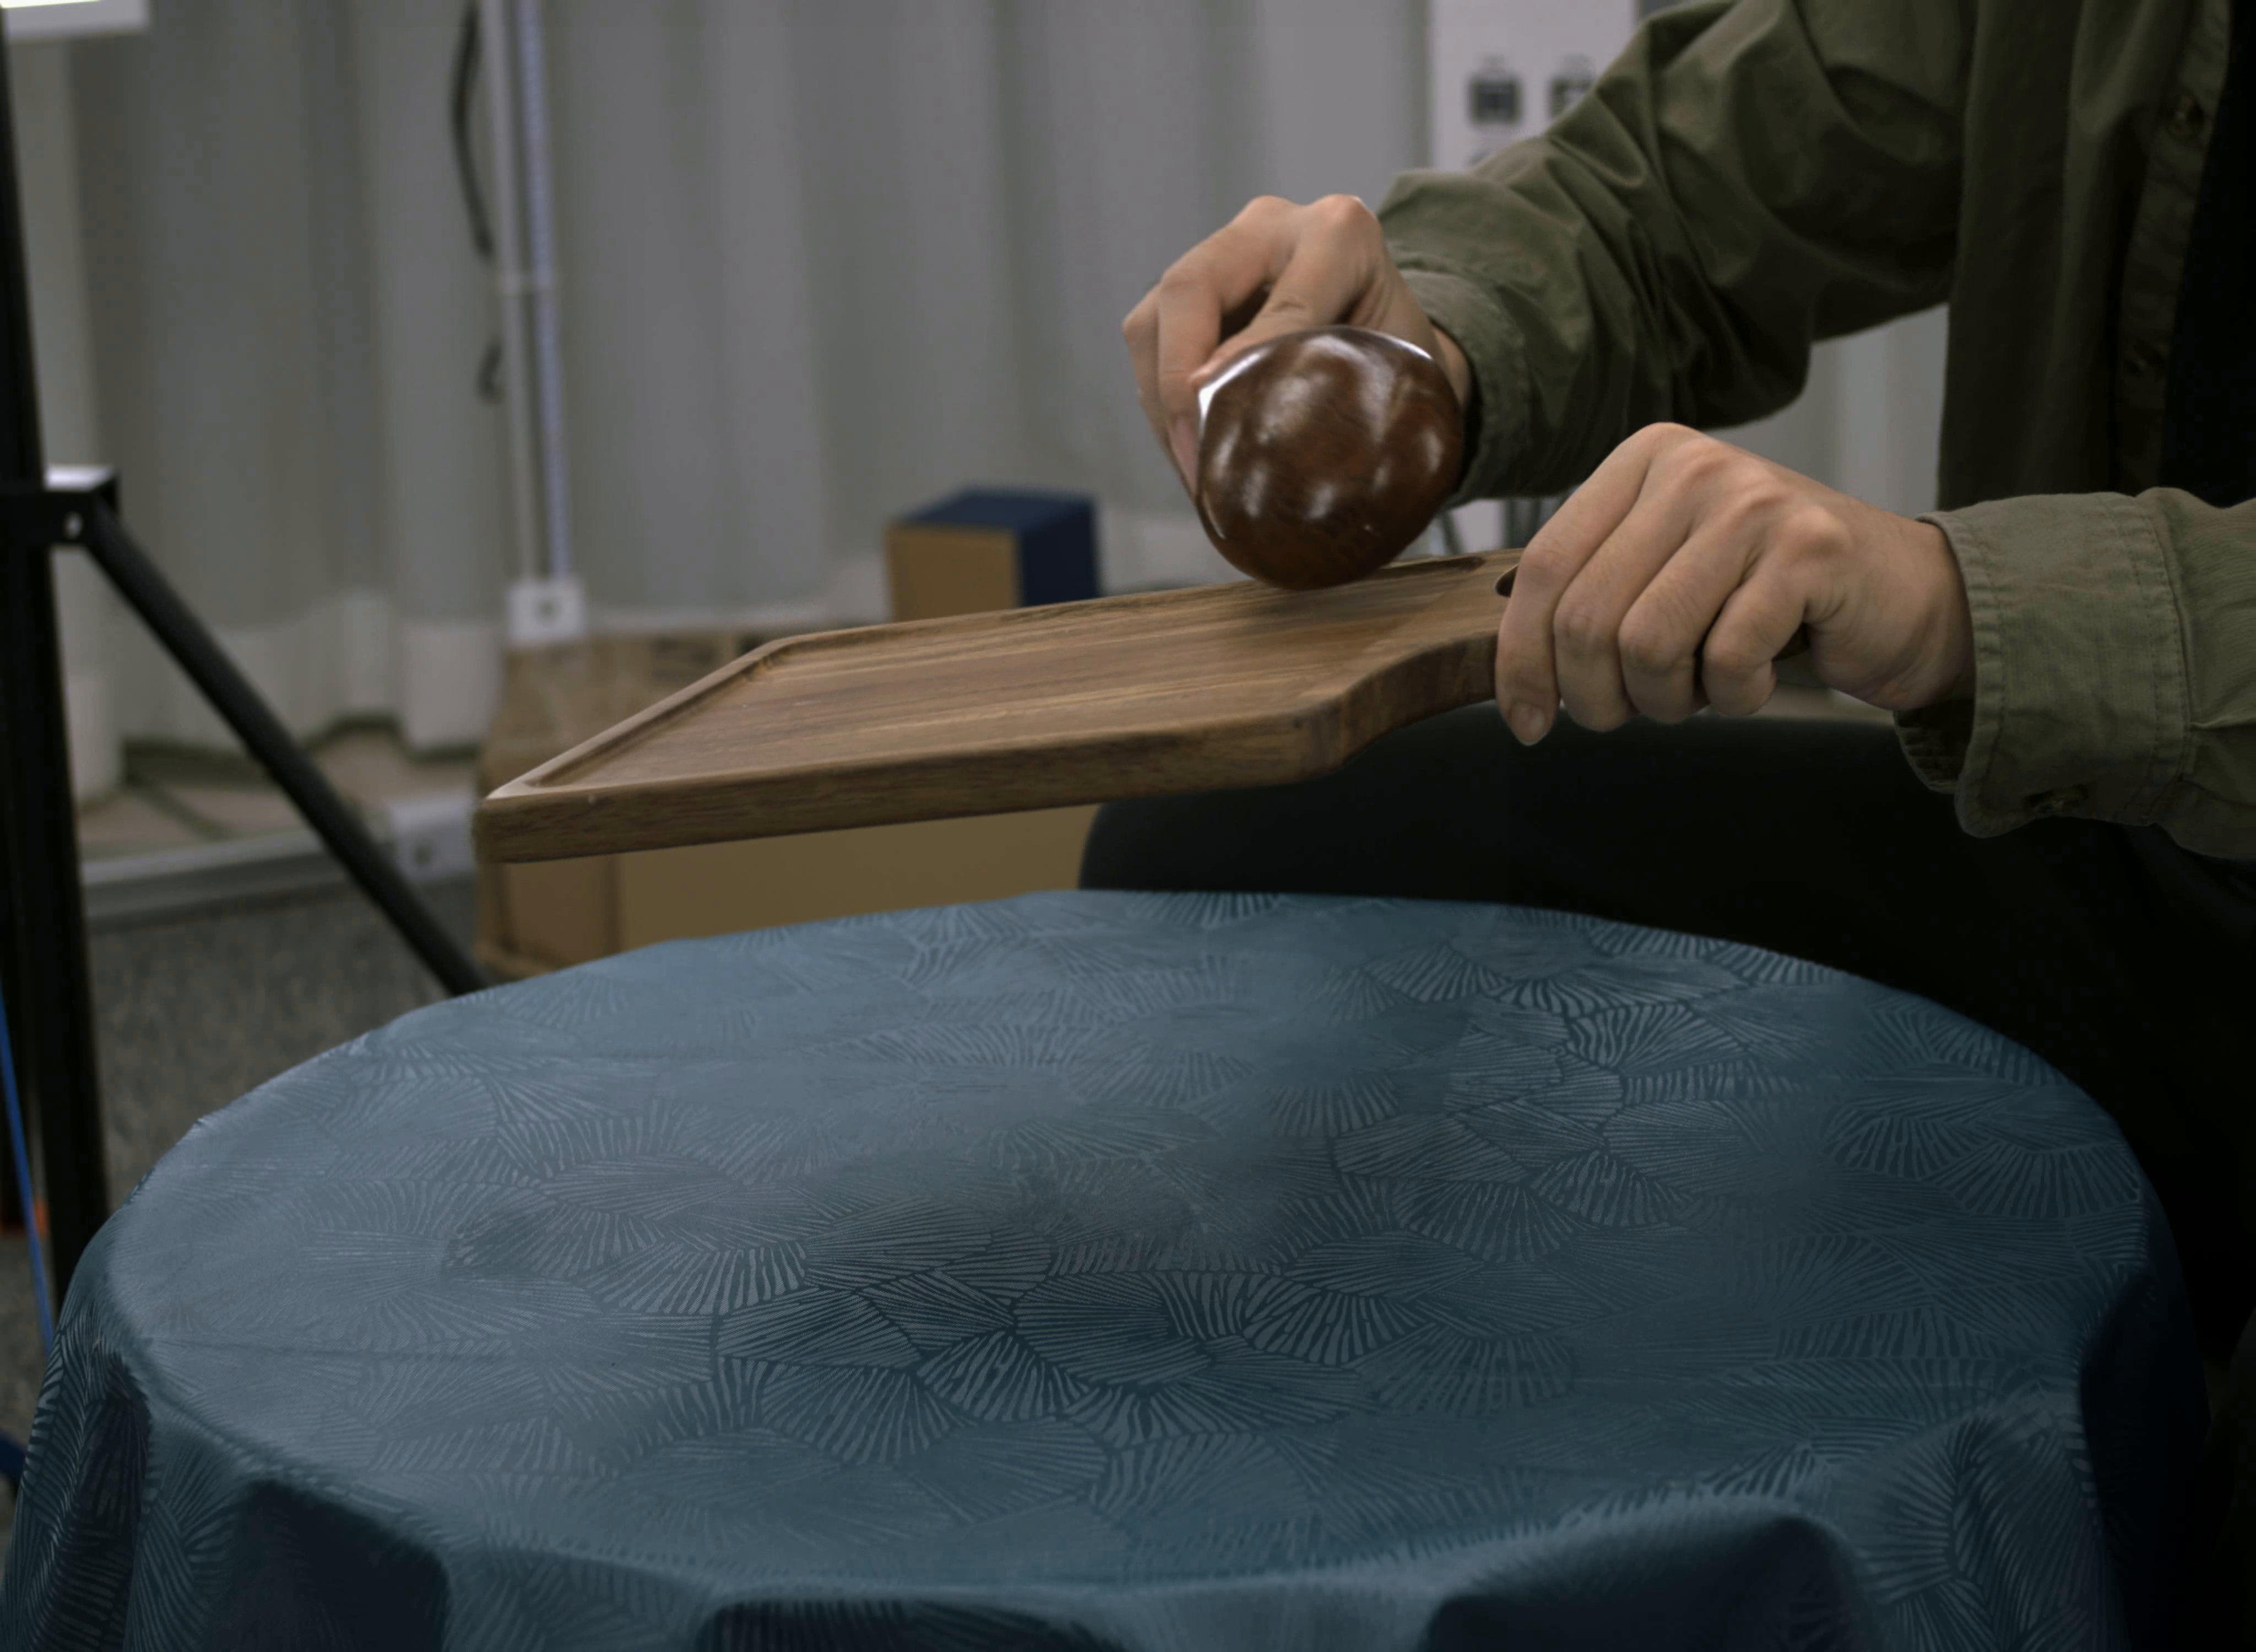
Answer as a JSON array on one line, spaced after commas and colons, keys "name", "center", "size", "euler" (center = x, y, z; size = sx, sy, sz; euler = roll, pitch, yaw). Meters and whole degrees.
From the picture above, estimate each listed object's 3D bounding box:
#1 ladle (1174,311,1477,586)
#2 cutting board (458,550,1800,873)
[{"name": "ladle", "center": [0.054, -0.113, 1.596], "size": [0.082, 0.076, 0.274], "euler": [-40, 3, 0]}, {"name": "cutting board", "center": [0.011, -0.036, 1.442], "size": [0.357, 0.023, 0.198], "euler": [-5, 14, 27]}]
